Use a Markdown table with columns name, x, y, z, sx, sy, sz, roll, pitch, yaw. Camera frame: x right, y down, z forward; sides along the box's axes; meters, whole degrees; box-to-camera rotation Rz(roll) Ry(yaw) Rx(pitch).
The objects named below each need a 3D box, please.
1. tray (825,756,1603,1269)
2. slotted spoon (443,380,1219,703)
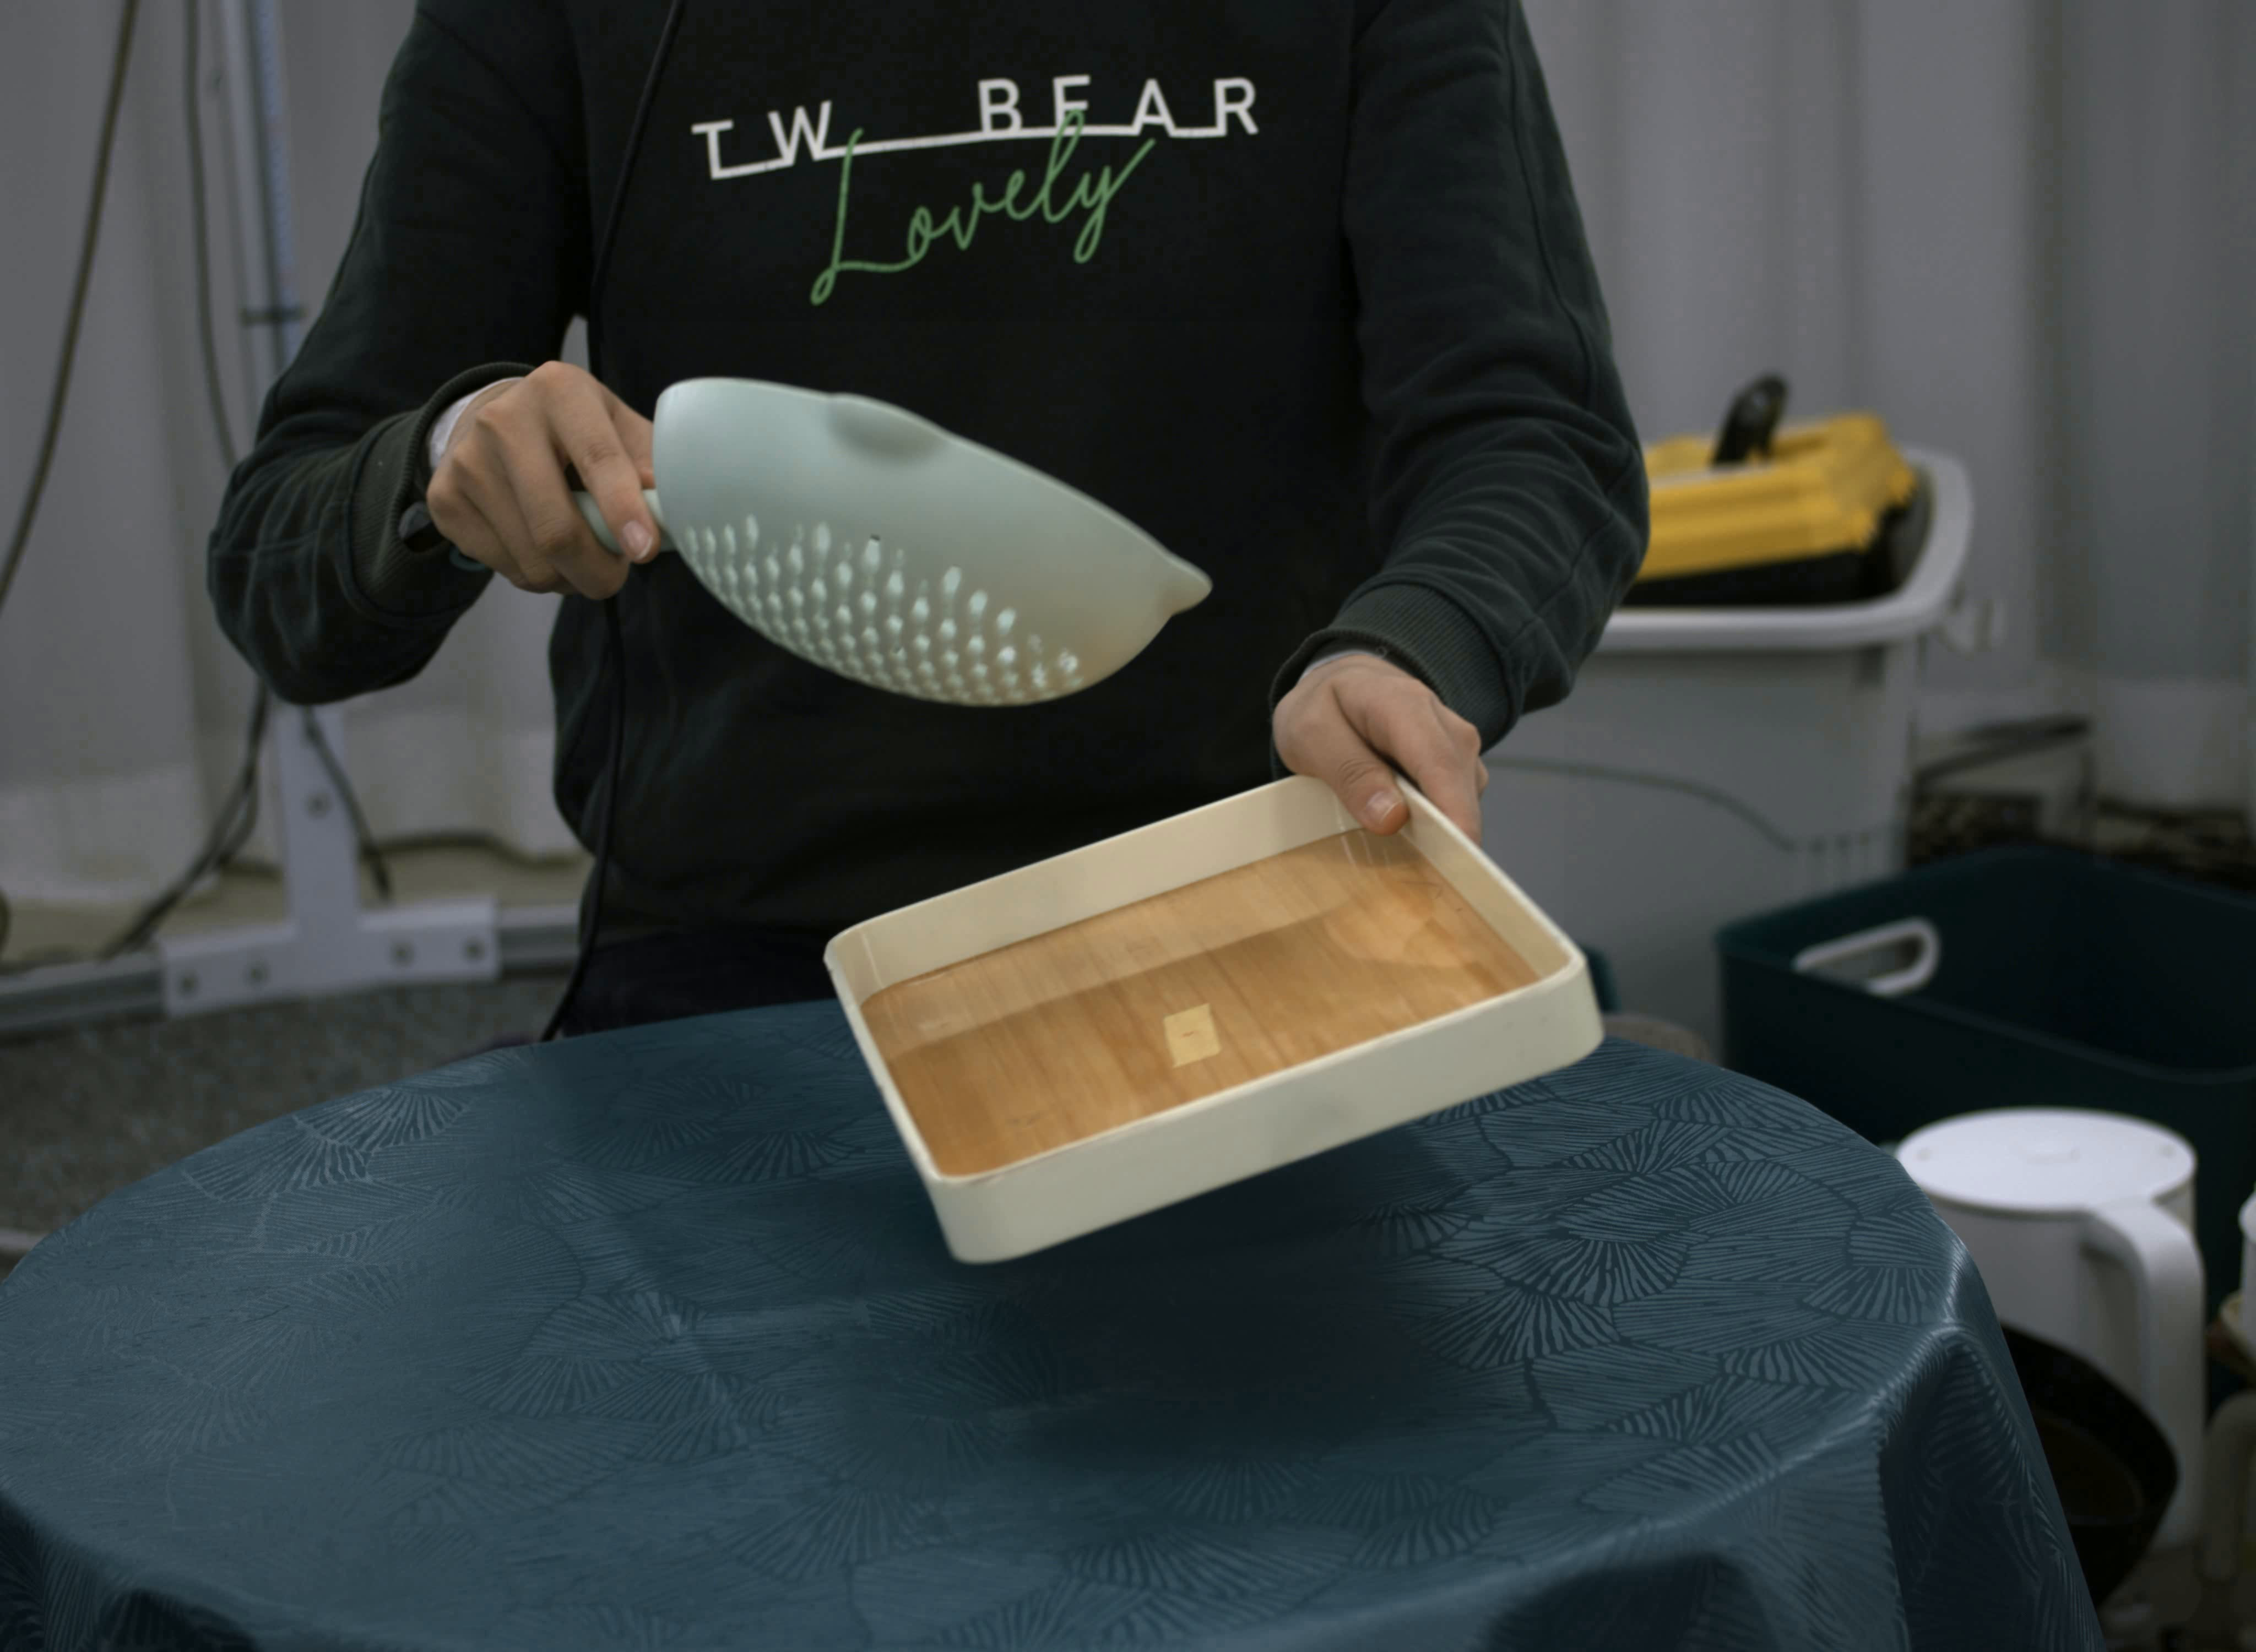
| name | x | y | z | sx | sy | sz | roll | pitch | yaw |
| --- | --- | --- | --- | --- | --- | --- | --- | --- | --- |
| tray | 0.017 | 0.050 | 1.606 | 0.191 | 0.027 | 0.302 | -19 | 15 | -4 |
| slotted spoon | -0.122 | -0.091 | 1.727 | 0.167 | 0.075 | 0.361 | 27 | -6 | -33 |
